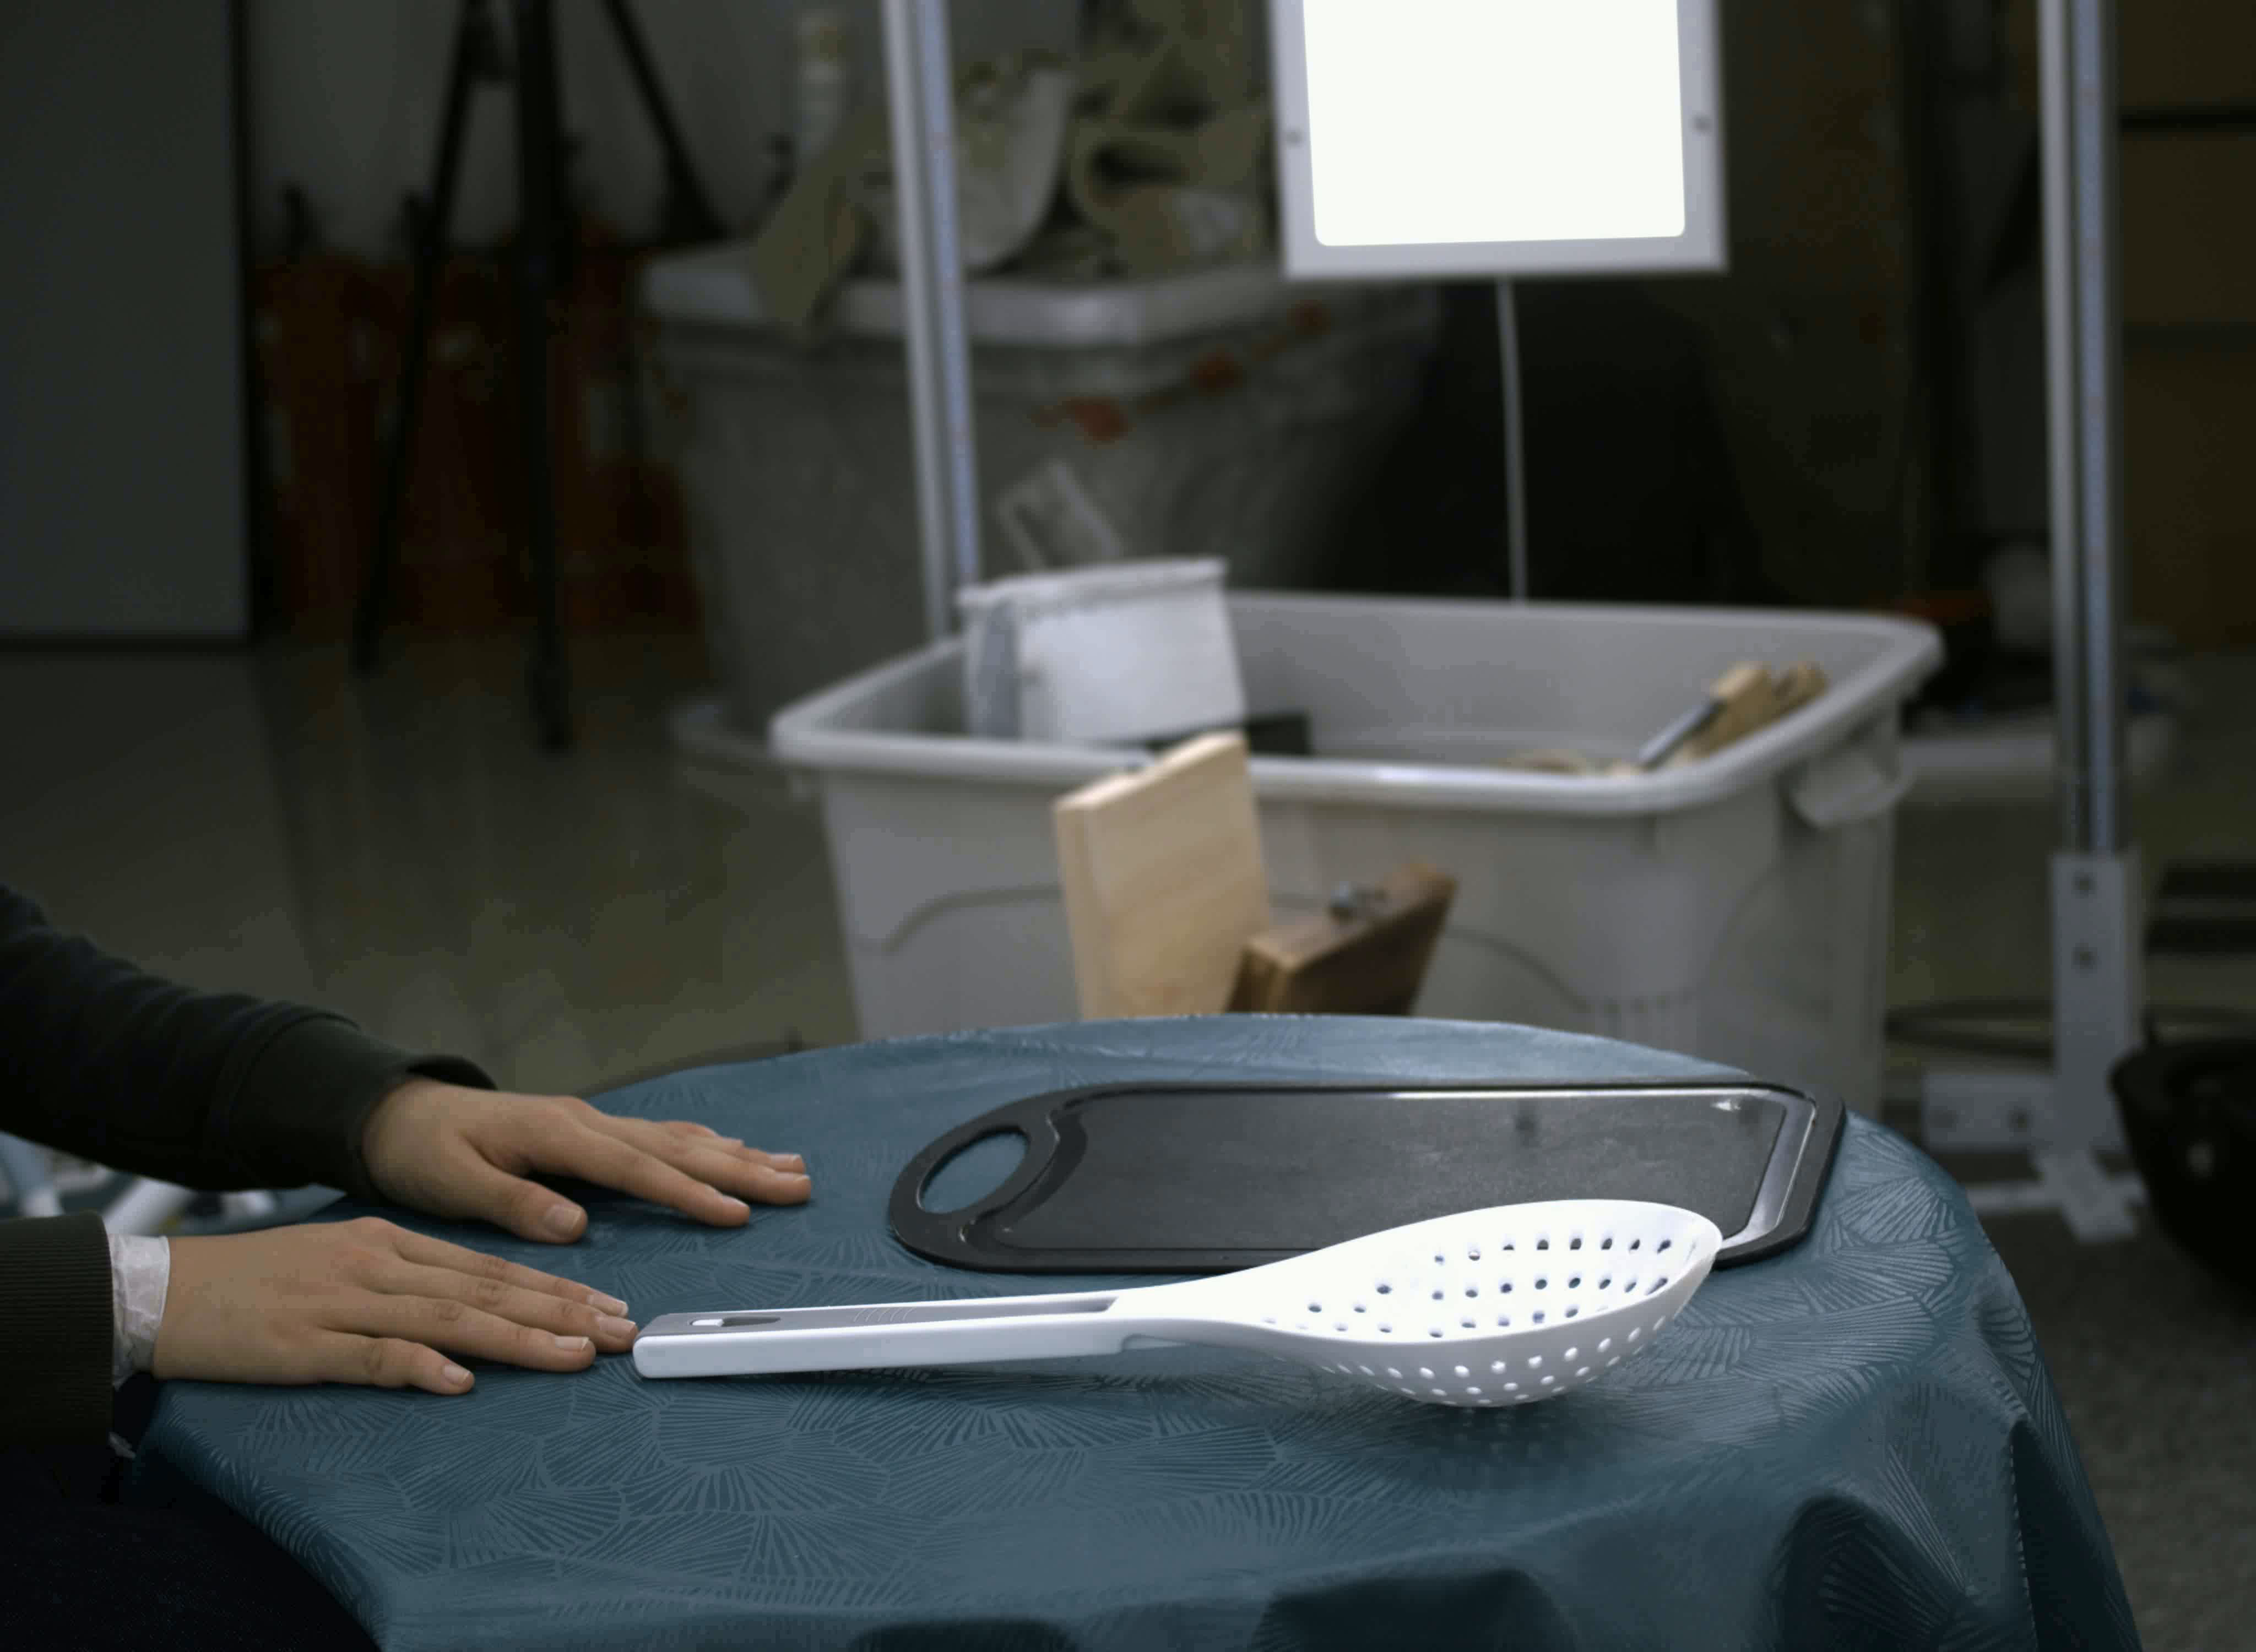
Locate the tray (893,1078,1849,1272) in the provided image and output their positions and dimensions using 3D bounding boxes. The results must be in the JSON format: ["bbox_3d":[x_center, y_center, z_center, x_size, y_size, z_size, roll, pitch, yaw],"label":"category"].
[{"bbox_3d":[0.081,0.117,1.892,0.328,0.010,0.208,-2,14,15],"label":"tray"}]

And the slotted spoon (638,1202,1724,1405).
[{"bbox_3d":[0.012,0.150,1.699,0.354,0.046,0.134,-1,12,19],"label":"slotted spoon"}]
